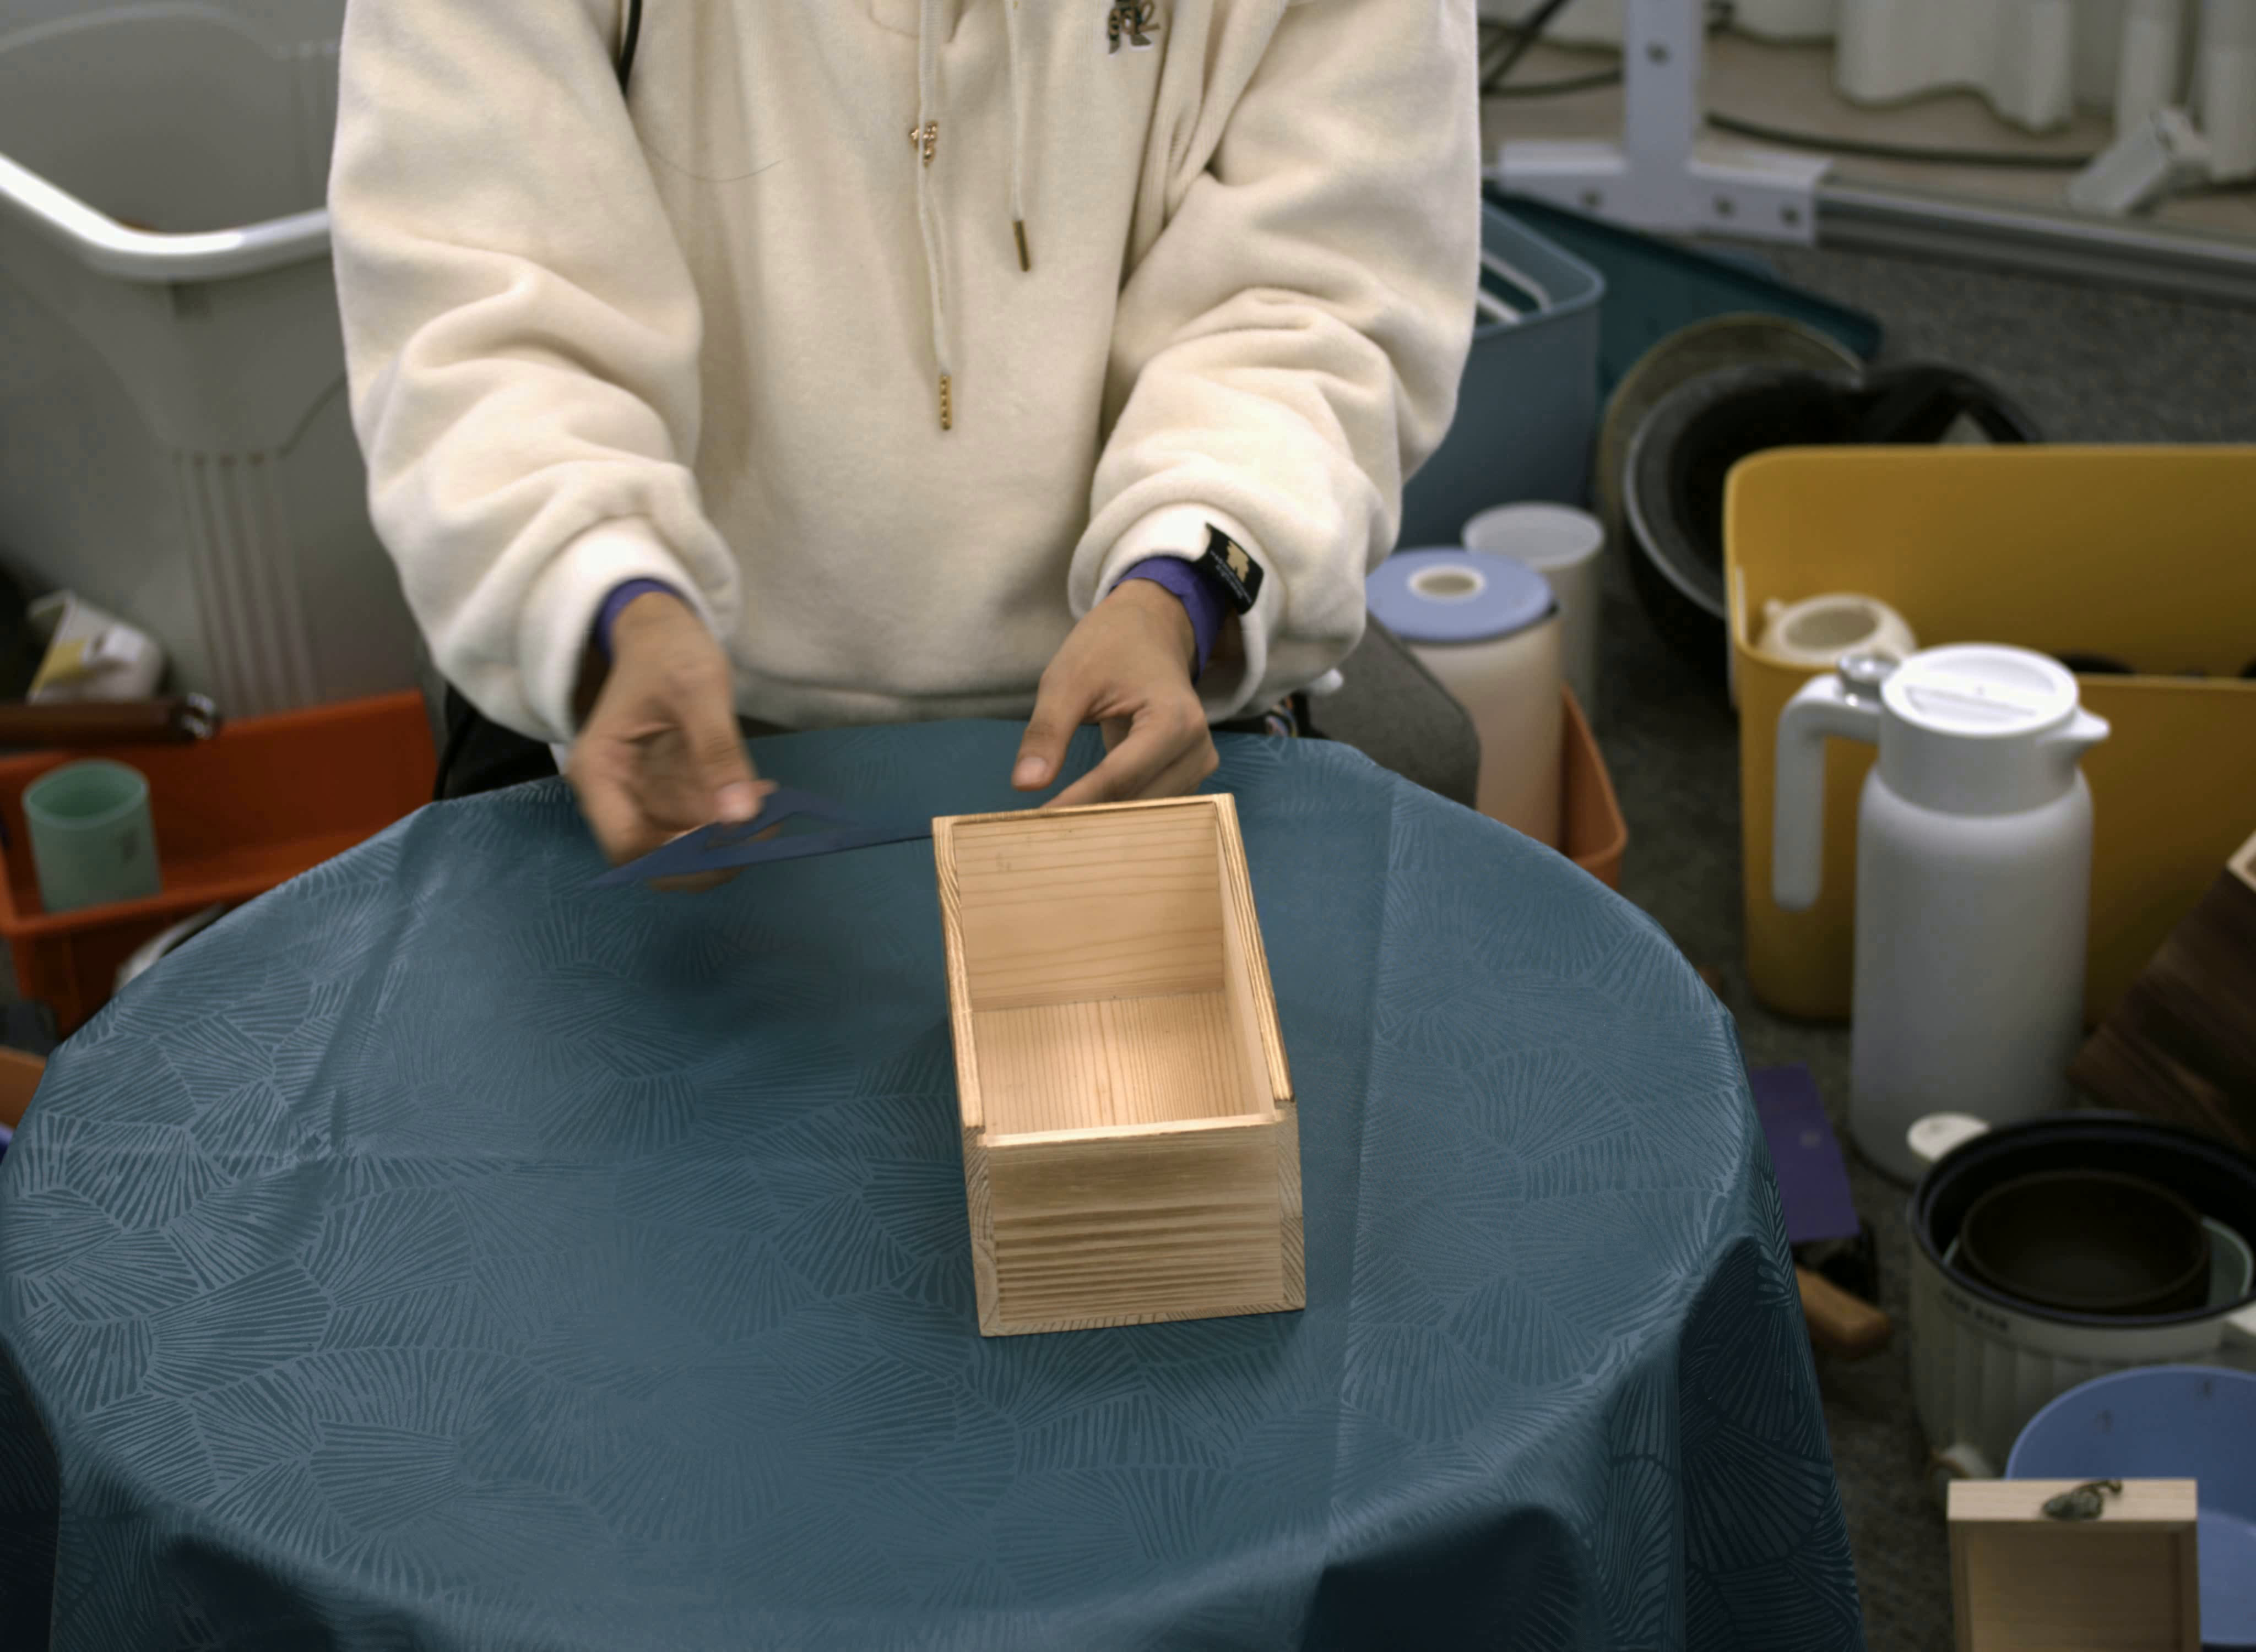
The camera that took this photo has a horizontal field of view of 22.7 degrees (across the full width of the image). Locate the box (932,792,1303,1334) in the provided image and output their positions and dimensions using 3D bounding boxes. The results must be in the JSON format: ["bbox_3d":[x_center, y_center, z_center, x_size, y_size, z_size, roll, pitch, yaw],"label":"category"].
[{"bbox_3d":[-0.006,0.075,1.866,0.107,0.079,0.214,-4,28,-3],"label":"box"}]

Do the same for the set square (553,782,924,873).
[{"bbox_3d":[-0.141,-0.002,1.957,0.132,0.006,0.061,-6,24,-22],"label":"set square"}]
